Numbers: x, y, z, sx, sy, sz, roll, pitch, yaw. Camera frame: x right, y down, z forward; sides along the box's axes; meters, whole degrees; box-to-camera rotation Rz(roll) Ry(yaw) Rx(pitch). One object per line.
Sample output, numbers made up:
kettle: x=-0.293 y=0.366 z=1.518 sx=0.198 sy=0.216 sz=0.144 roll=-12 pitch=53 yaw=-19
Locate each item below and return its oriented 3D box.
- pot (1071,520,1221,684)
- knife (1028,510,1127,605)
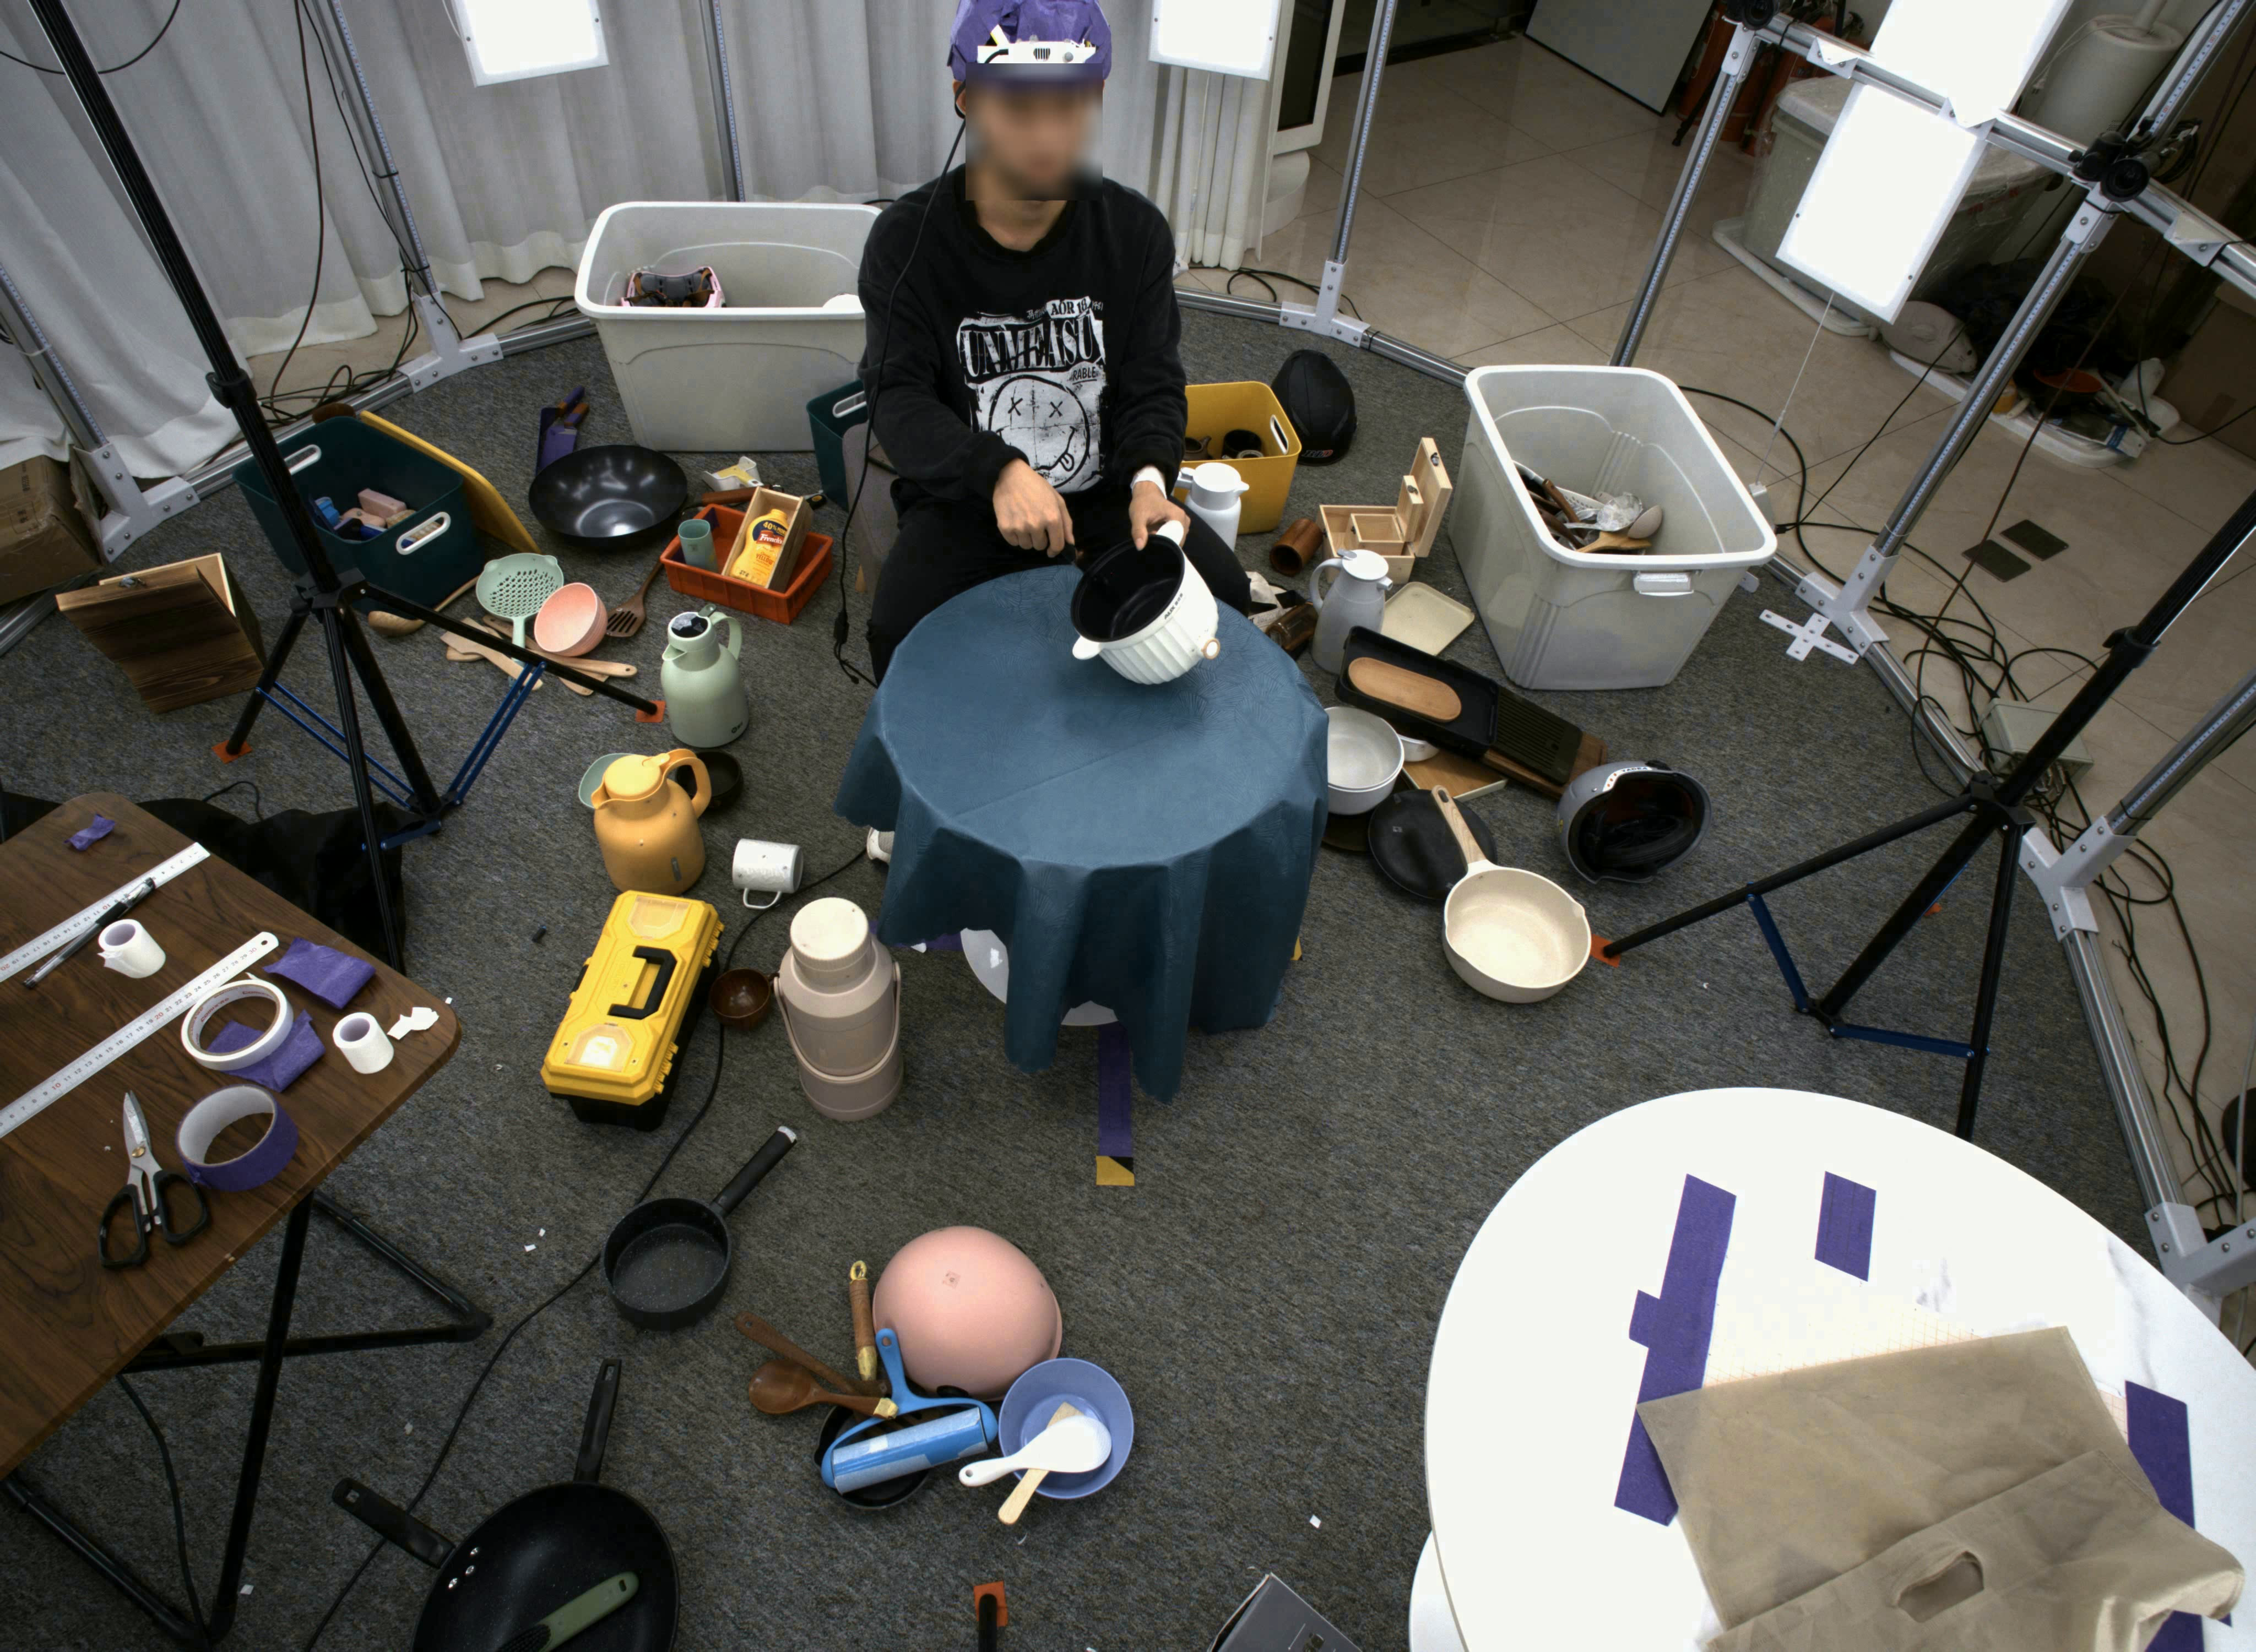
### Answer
pot: x=0.035 y=-0.296 z=1.806 sx=0.193 sy=0.140 sz=0.242 roll=25 pitch=77 yaw=47
knife: x=-0.066 y=-0.369 z=1.802 sx=0.017 sy=0.221 sz=0.027 roll=-11 pitch=57 yaw=35
